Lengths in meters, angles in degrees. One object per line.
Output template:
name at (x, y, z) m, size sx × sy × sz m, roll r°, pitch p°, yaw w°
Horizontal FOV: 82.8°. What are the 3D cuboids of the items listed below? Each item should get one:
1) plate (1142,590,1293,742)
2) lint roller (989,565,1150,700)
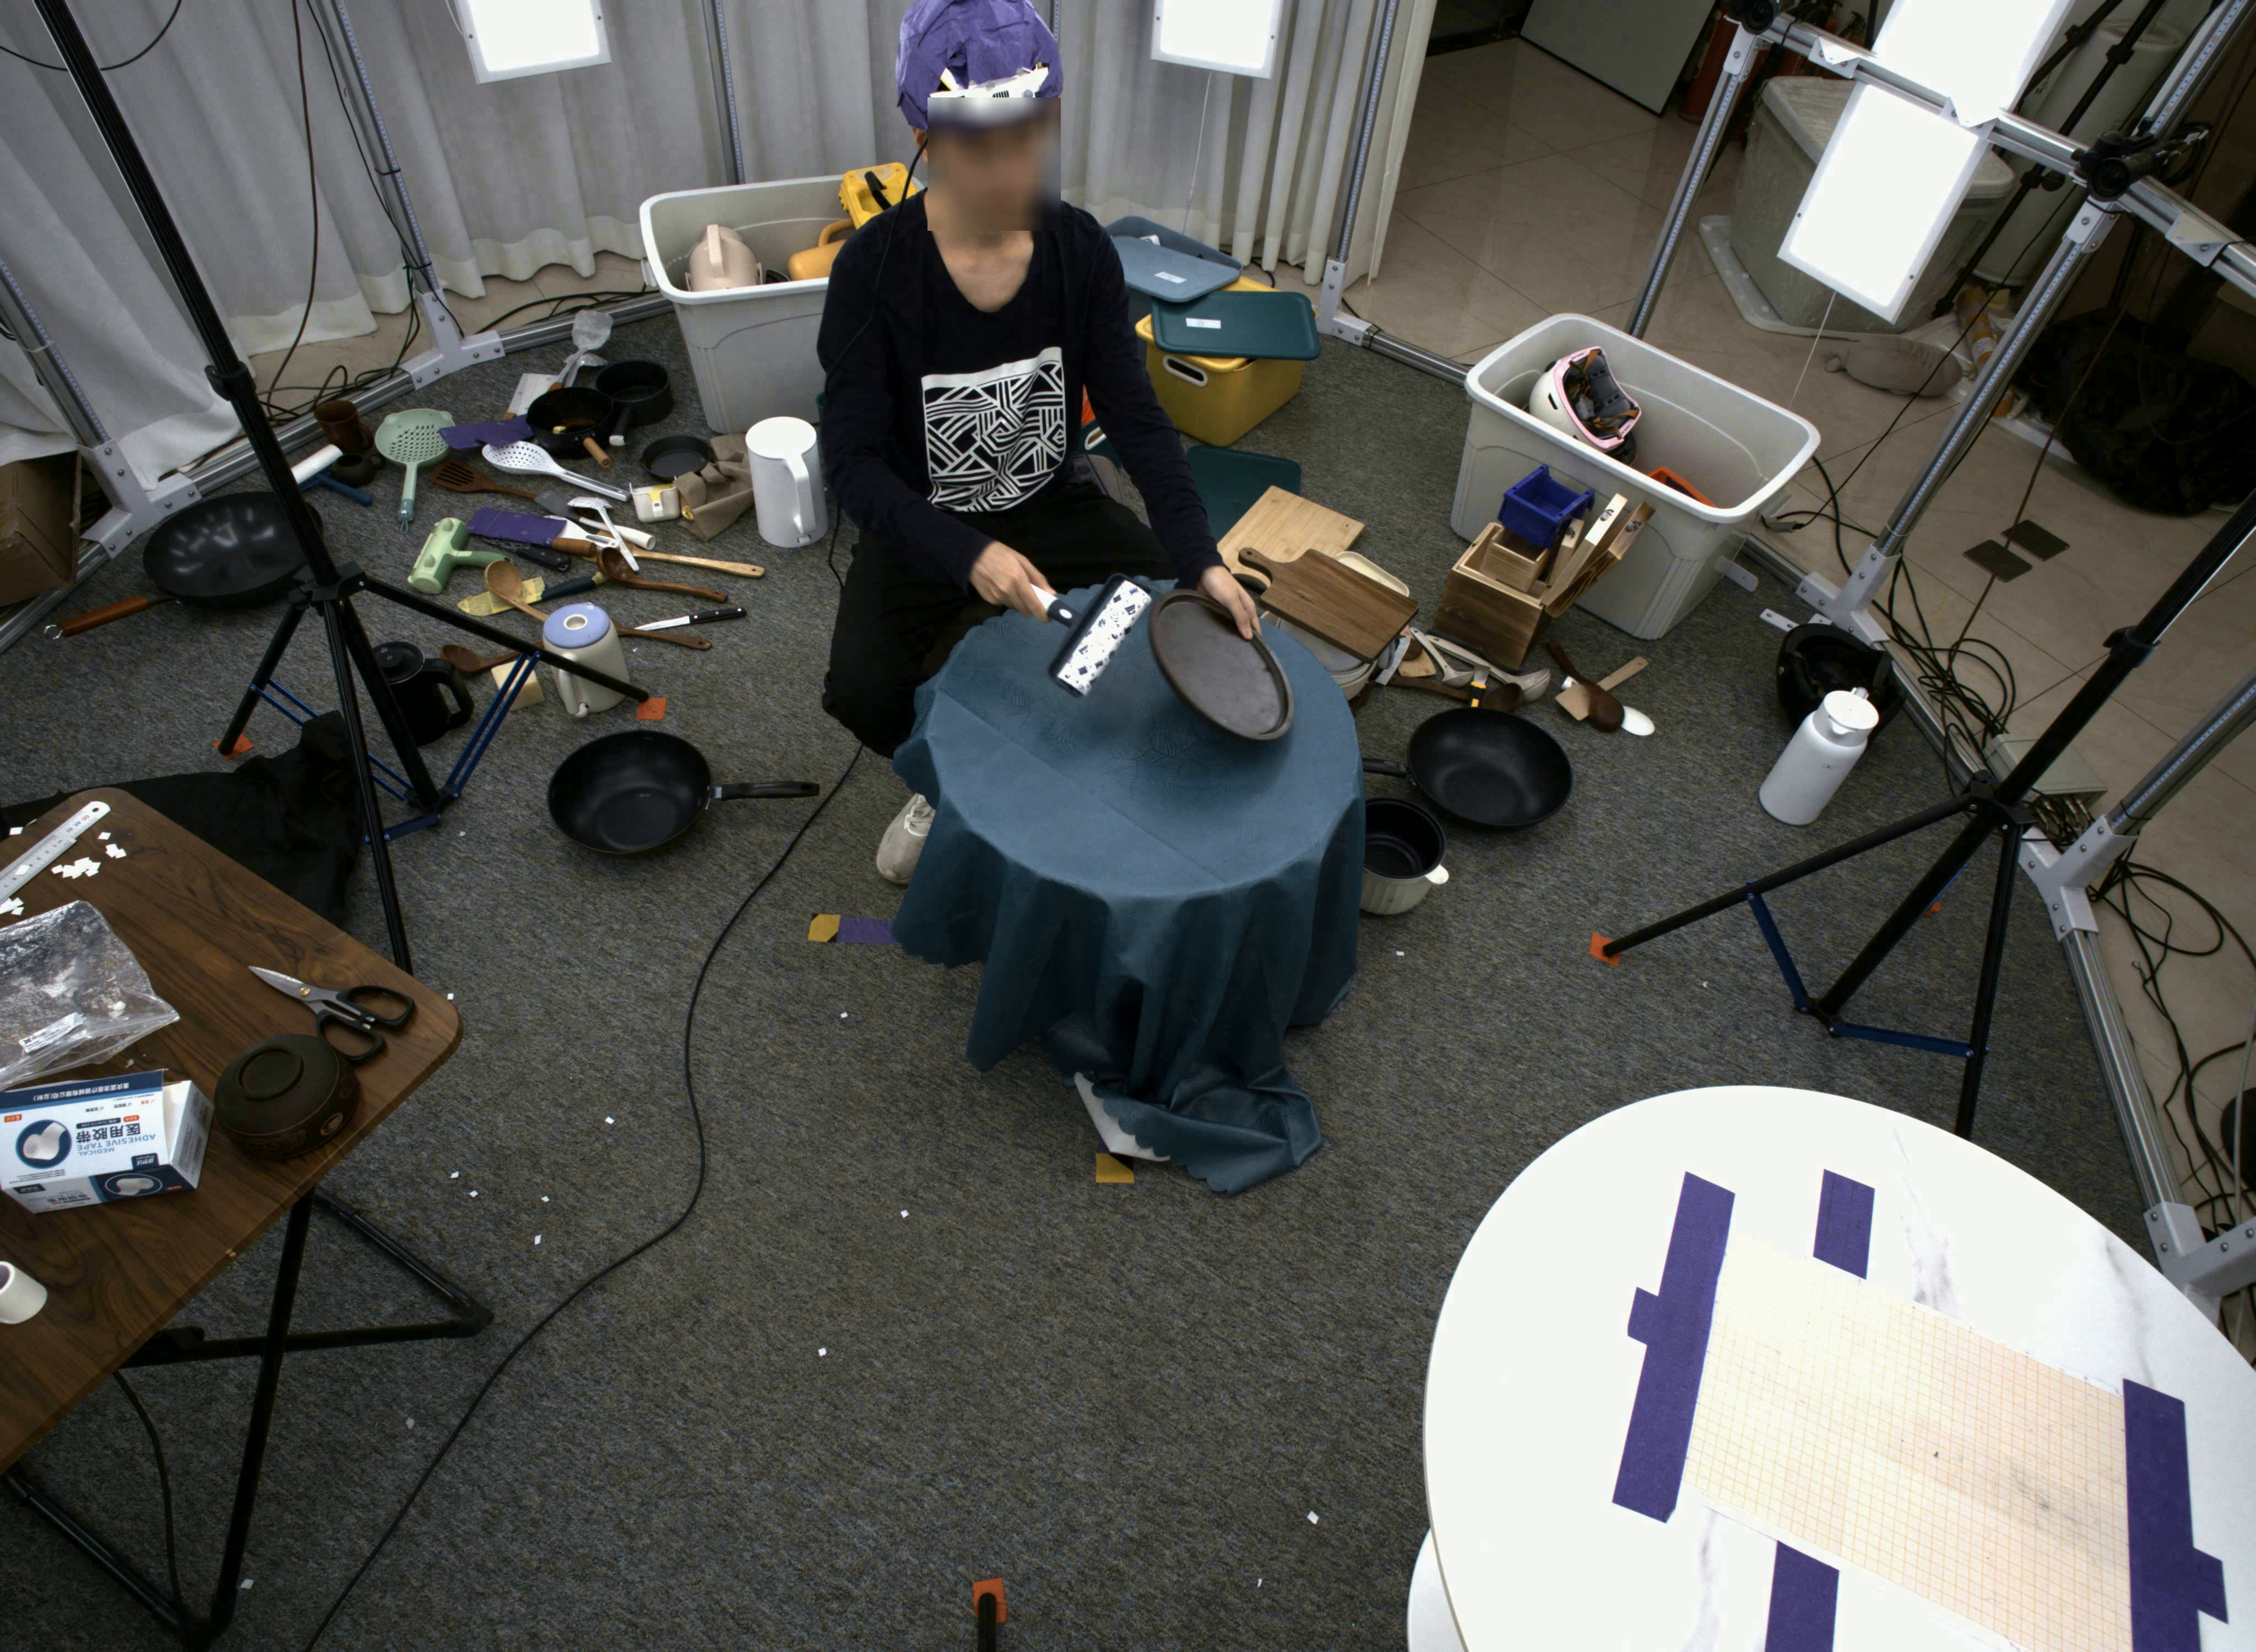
plate at (0.122, -0.219, 1.754) m, size 0.252 × 0.028 × 0.261 m, roll 24°, pitch 43°, yaw -25°
lint roller at (-0.106, -0.300, 1.762) m, size 0.250 × 0.049 × 0.176 m, roll 33°, pitch 91°, yaw 27°
